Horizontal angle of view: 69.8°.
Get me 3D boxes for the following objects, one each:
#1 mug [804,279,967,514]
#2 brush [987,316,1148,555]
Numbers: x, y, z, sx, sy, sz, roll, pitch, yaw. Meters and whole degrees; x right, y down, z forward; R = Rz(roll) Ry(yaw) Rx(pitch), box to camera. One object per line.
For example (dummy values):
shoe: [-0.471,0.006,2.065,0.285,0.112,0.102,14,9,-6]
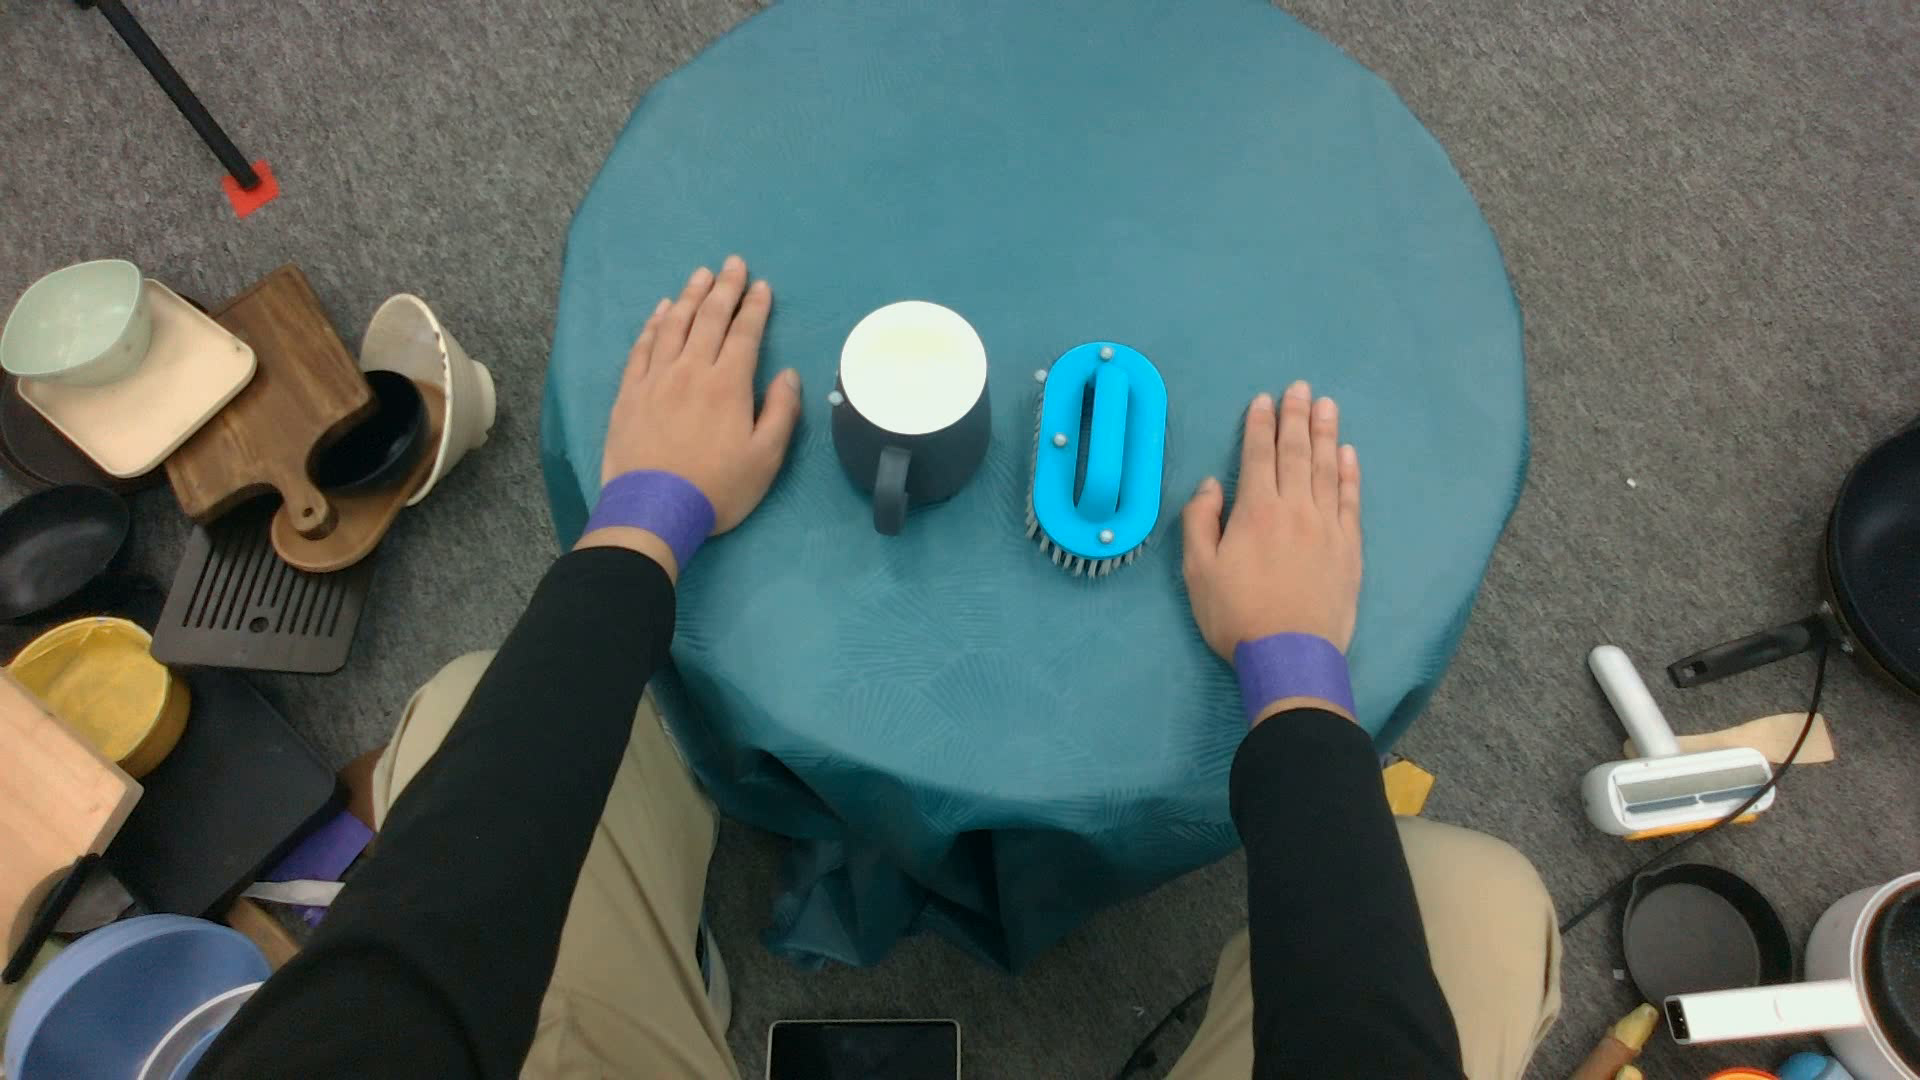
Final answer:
mug: [-0.044,-0.074,0.766,0.093,0.089,0.123,12,67,1]
brush: [0.065,-0.066,0.786,0.084,0.063,0.142,10,69,-6]
